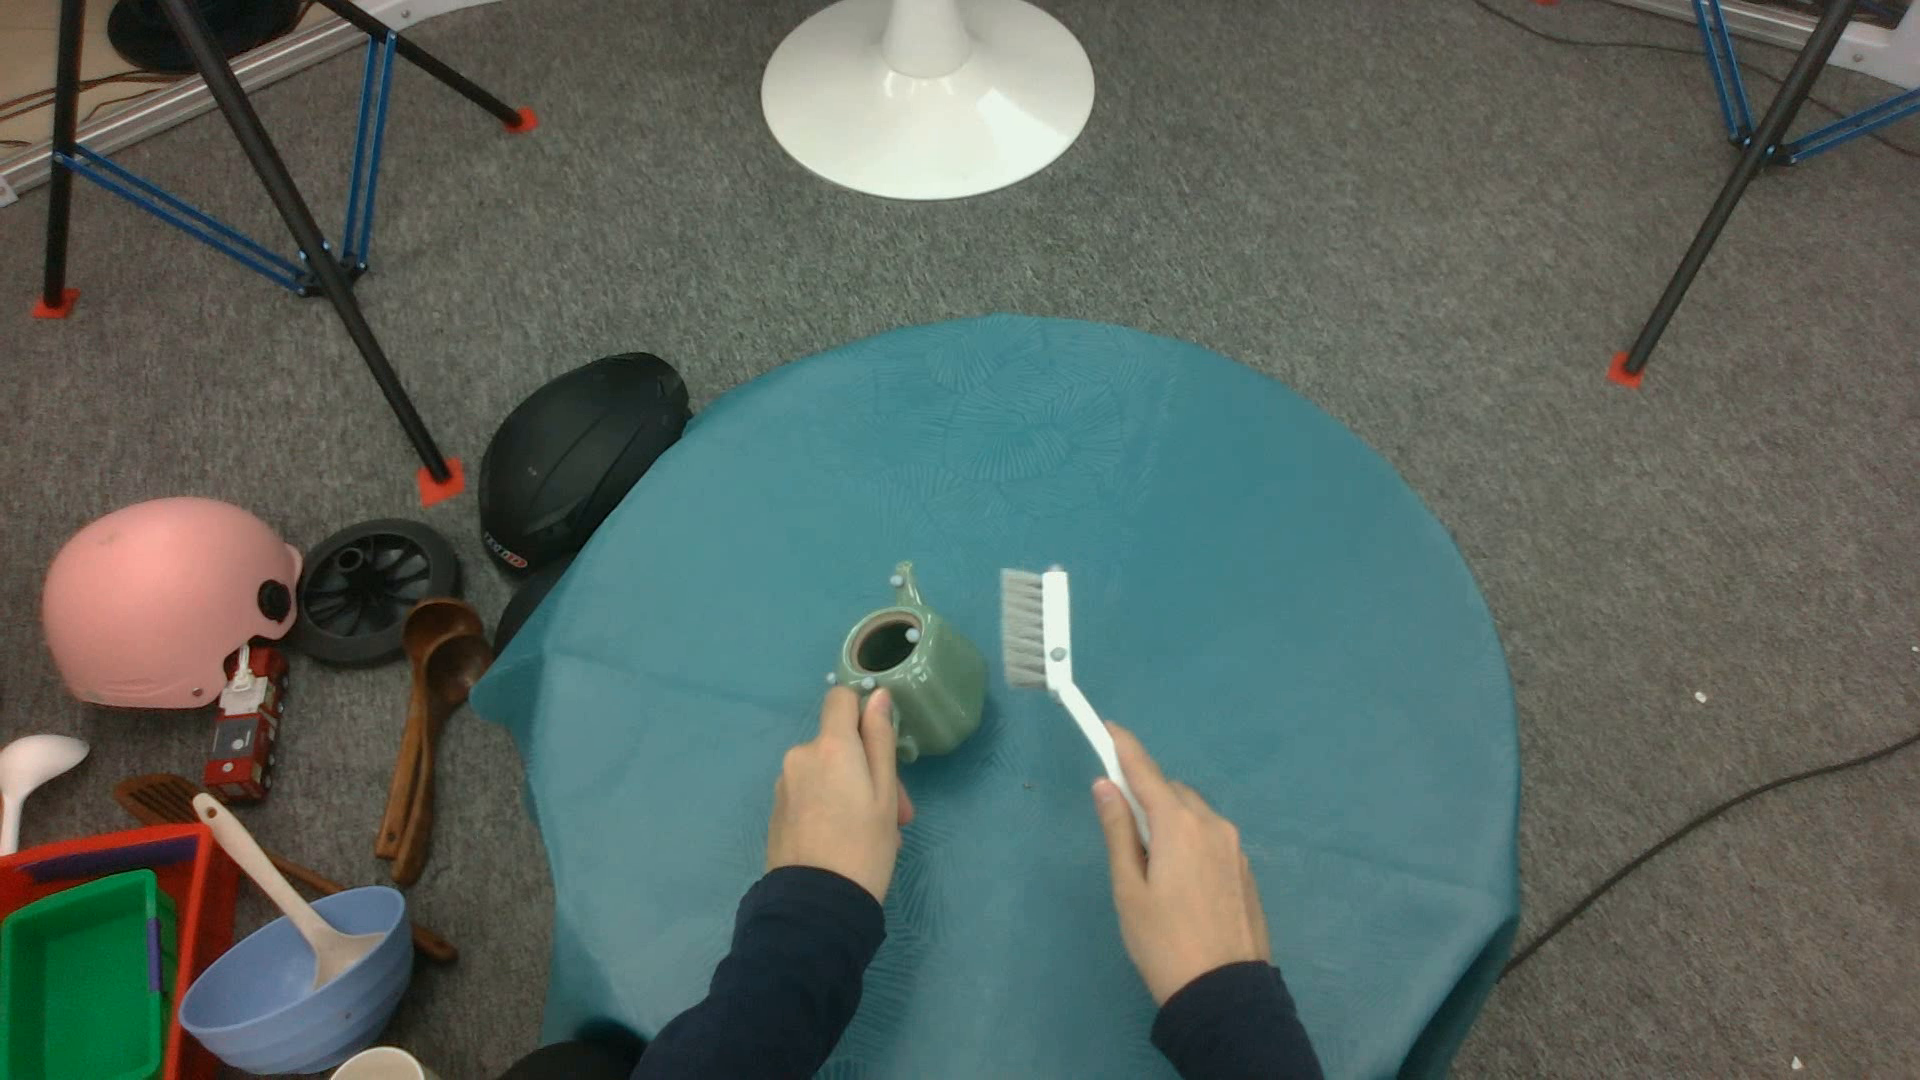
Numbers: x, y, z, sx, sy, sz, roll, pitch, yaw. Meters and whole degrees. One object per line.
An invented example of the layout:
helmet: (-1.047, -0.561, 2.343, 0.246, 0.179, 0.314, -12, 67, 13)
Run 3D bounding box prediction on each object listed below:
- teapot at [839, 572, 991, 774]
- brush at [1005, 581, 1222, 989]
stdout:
teapot: (-0.030, 0.088, 0.811, 0.079, 0.075, 0.133, -11, 42, 23)
brush: (0.074, 0.130, 0.747, 0.050, 0.034, 0.244, -20, 68, -3)
